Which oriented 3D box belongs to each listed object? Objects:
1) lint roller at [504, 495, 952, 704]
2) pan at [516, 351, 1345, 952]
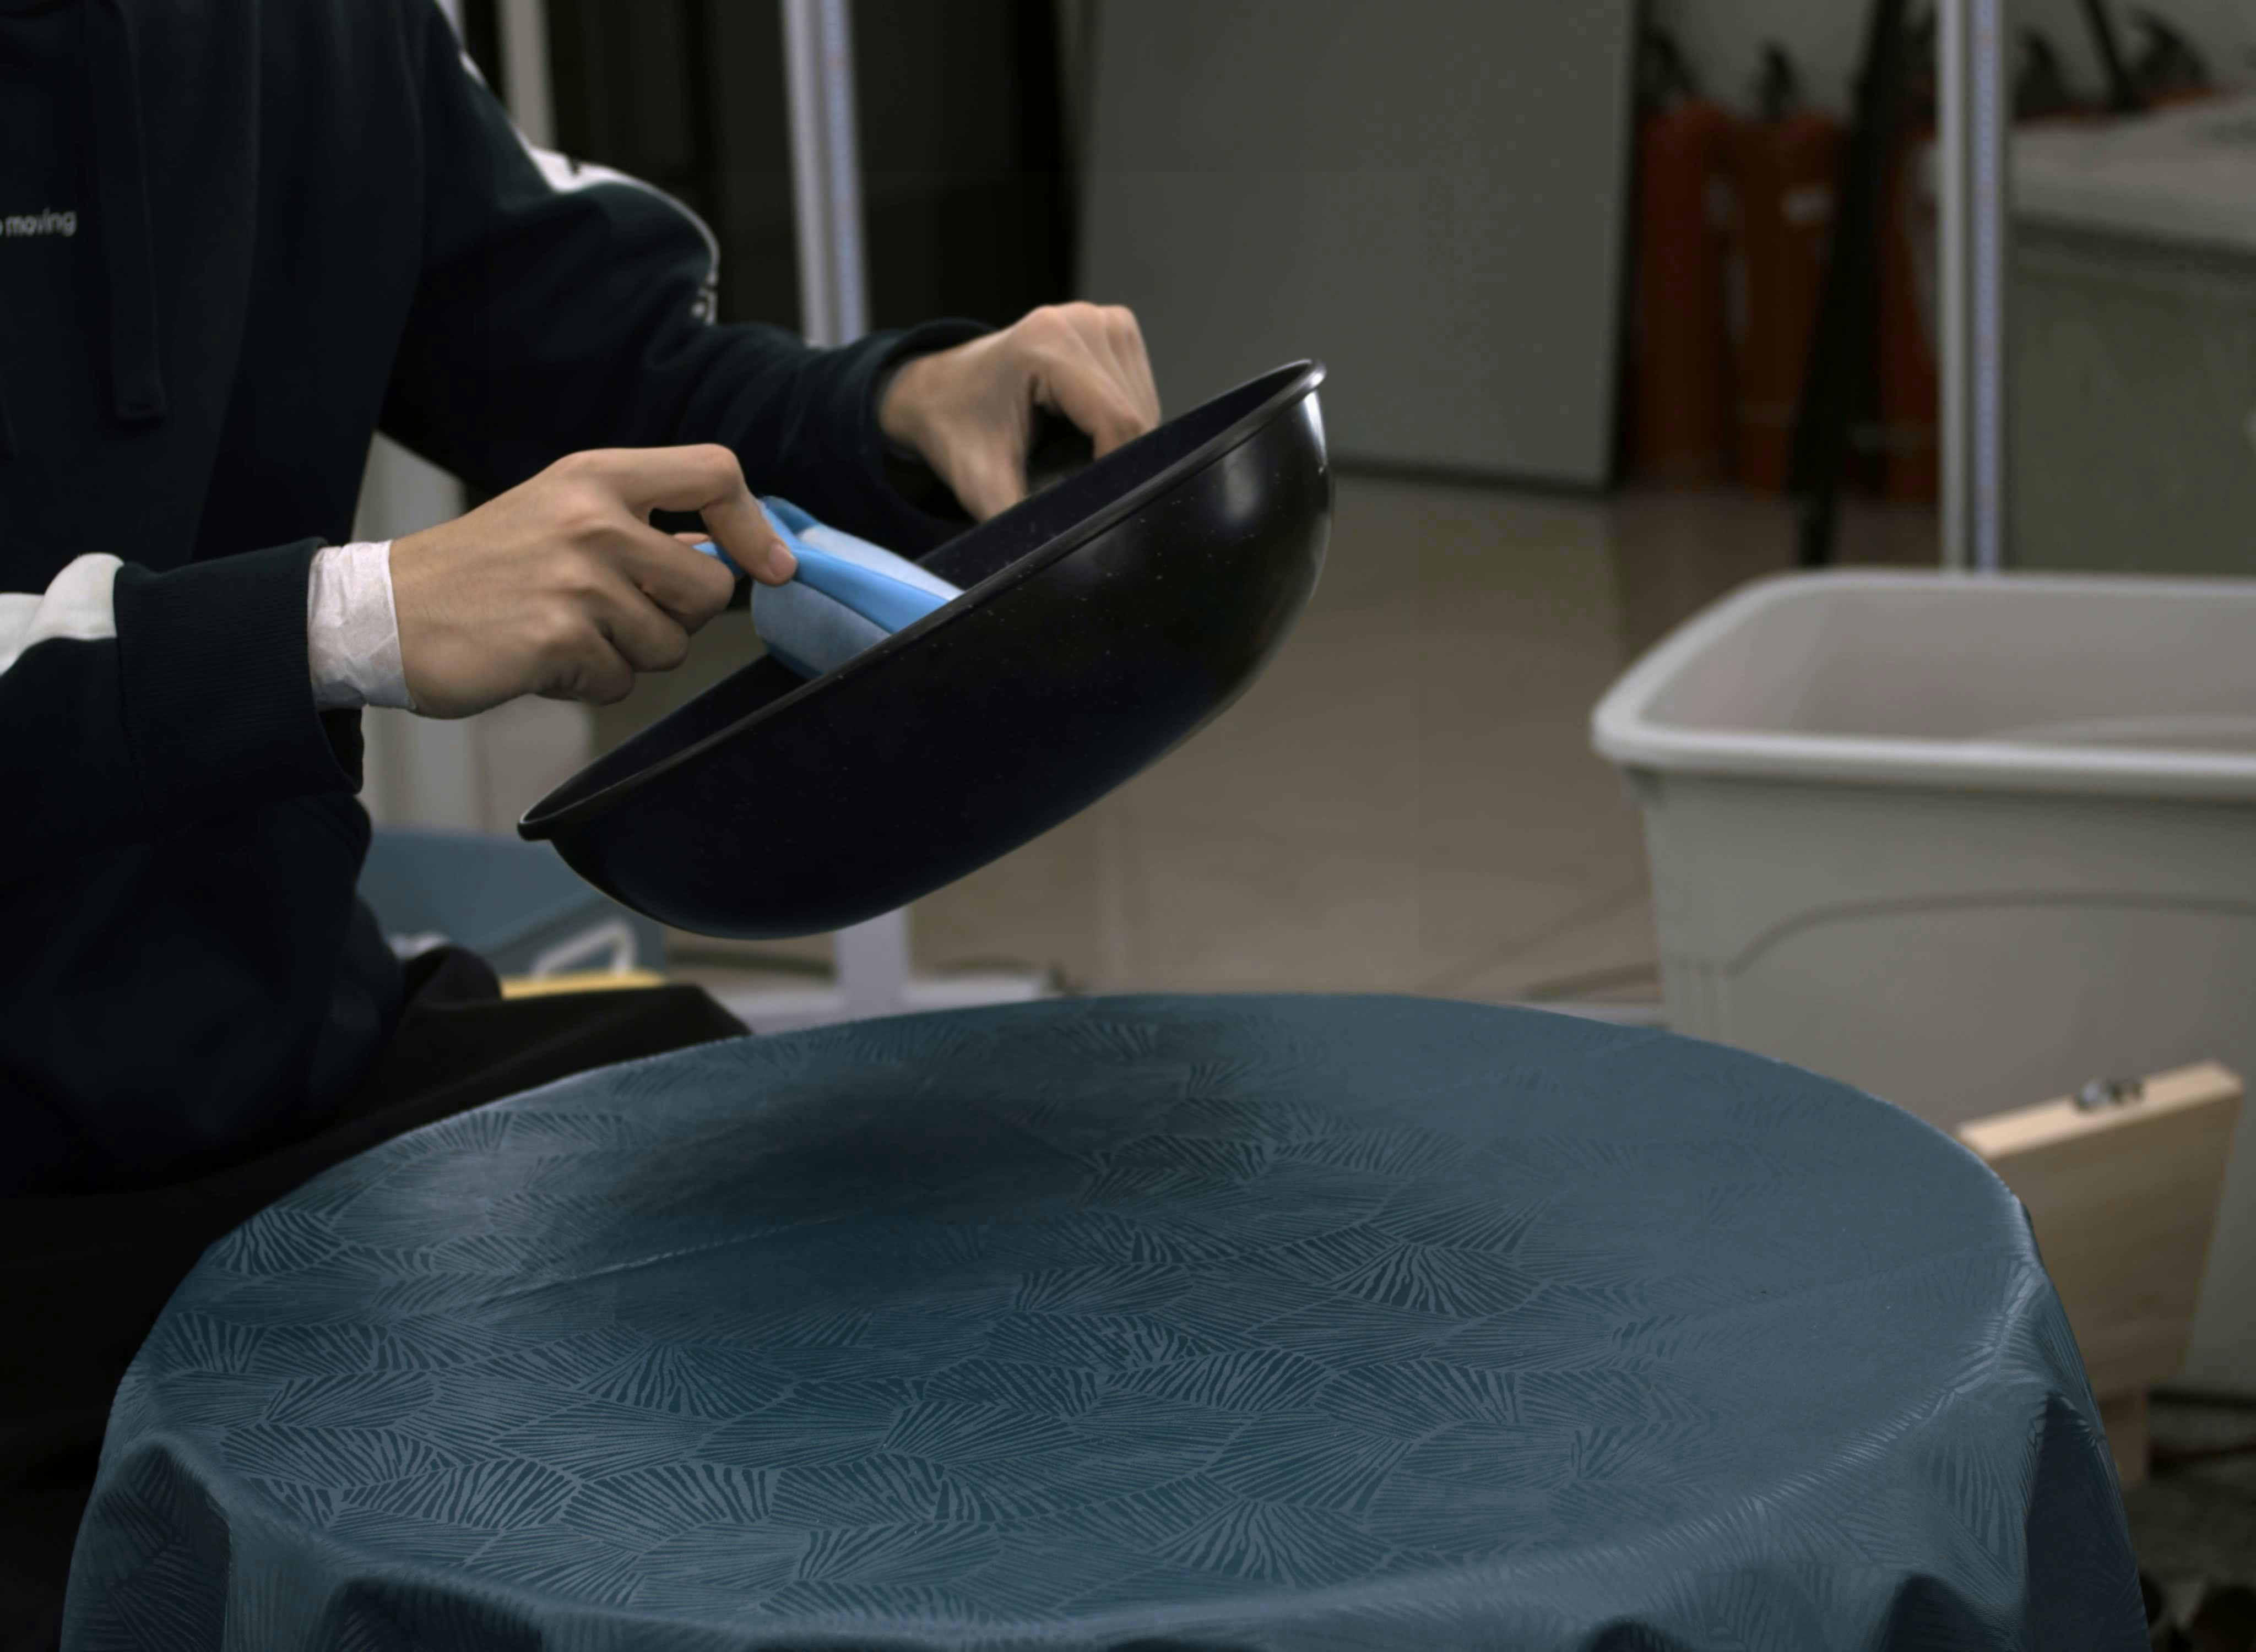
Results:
[{"bbox_3d":[-0.116,-0.063,1.790,0.176,0.069,0.231,6,13,-29],"label":"lint roller"},{"bbox_3d":[-0.035,-0.071,1.855,0.310,0.112,0.474,-27,7,18],"label":"pan"}]
